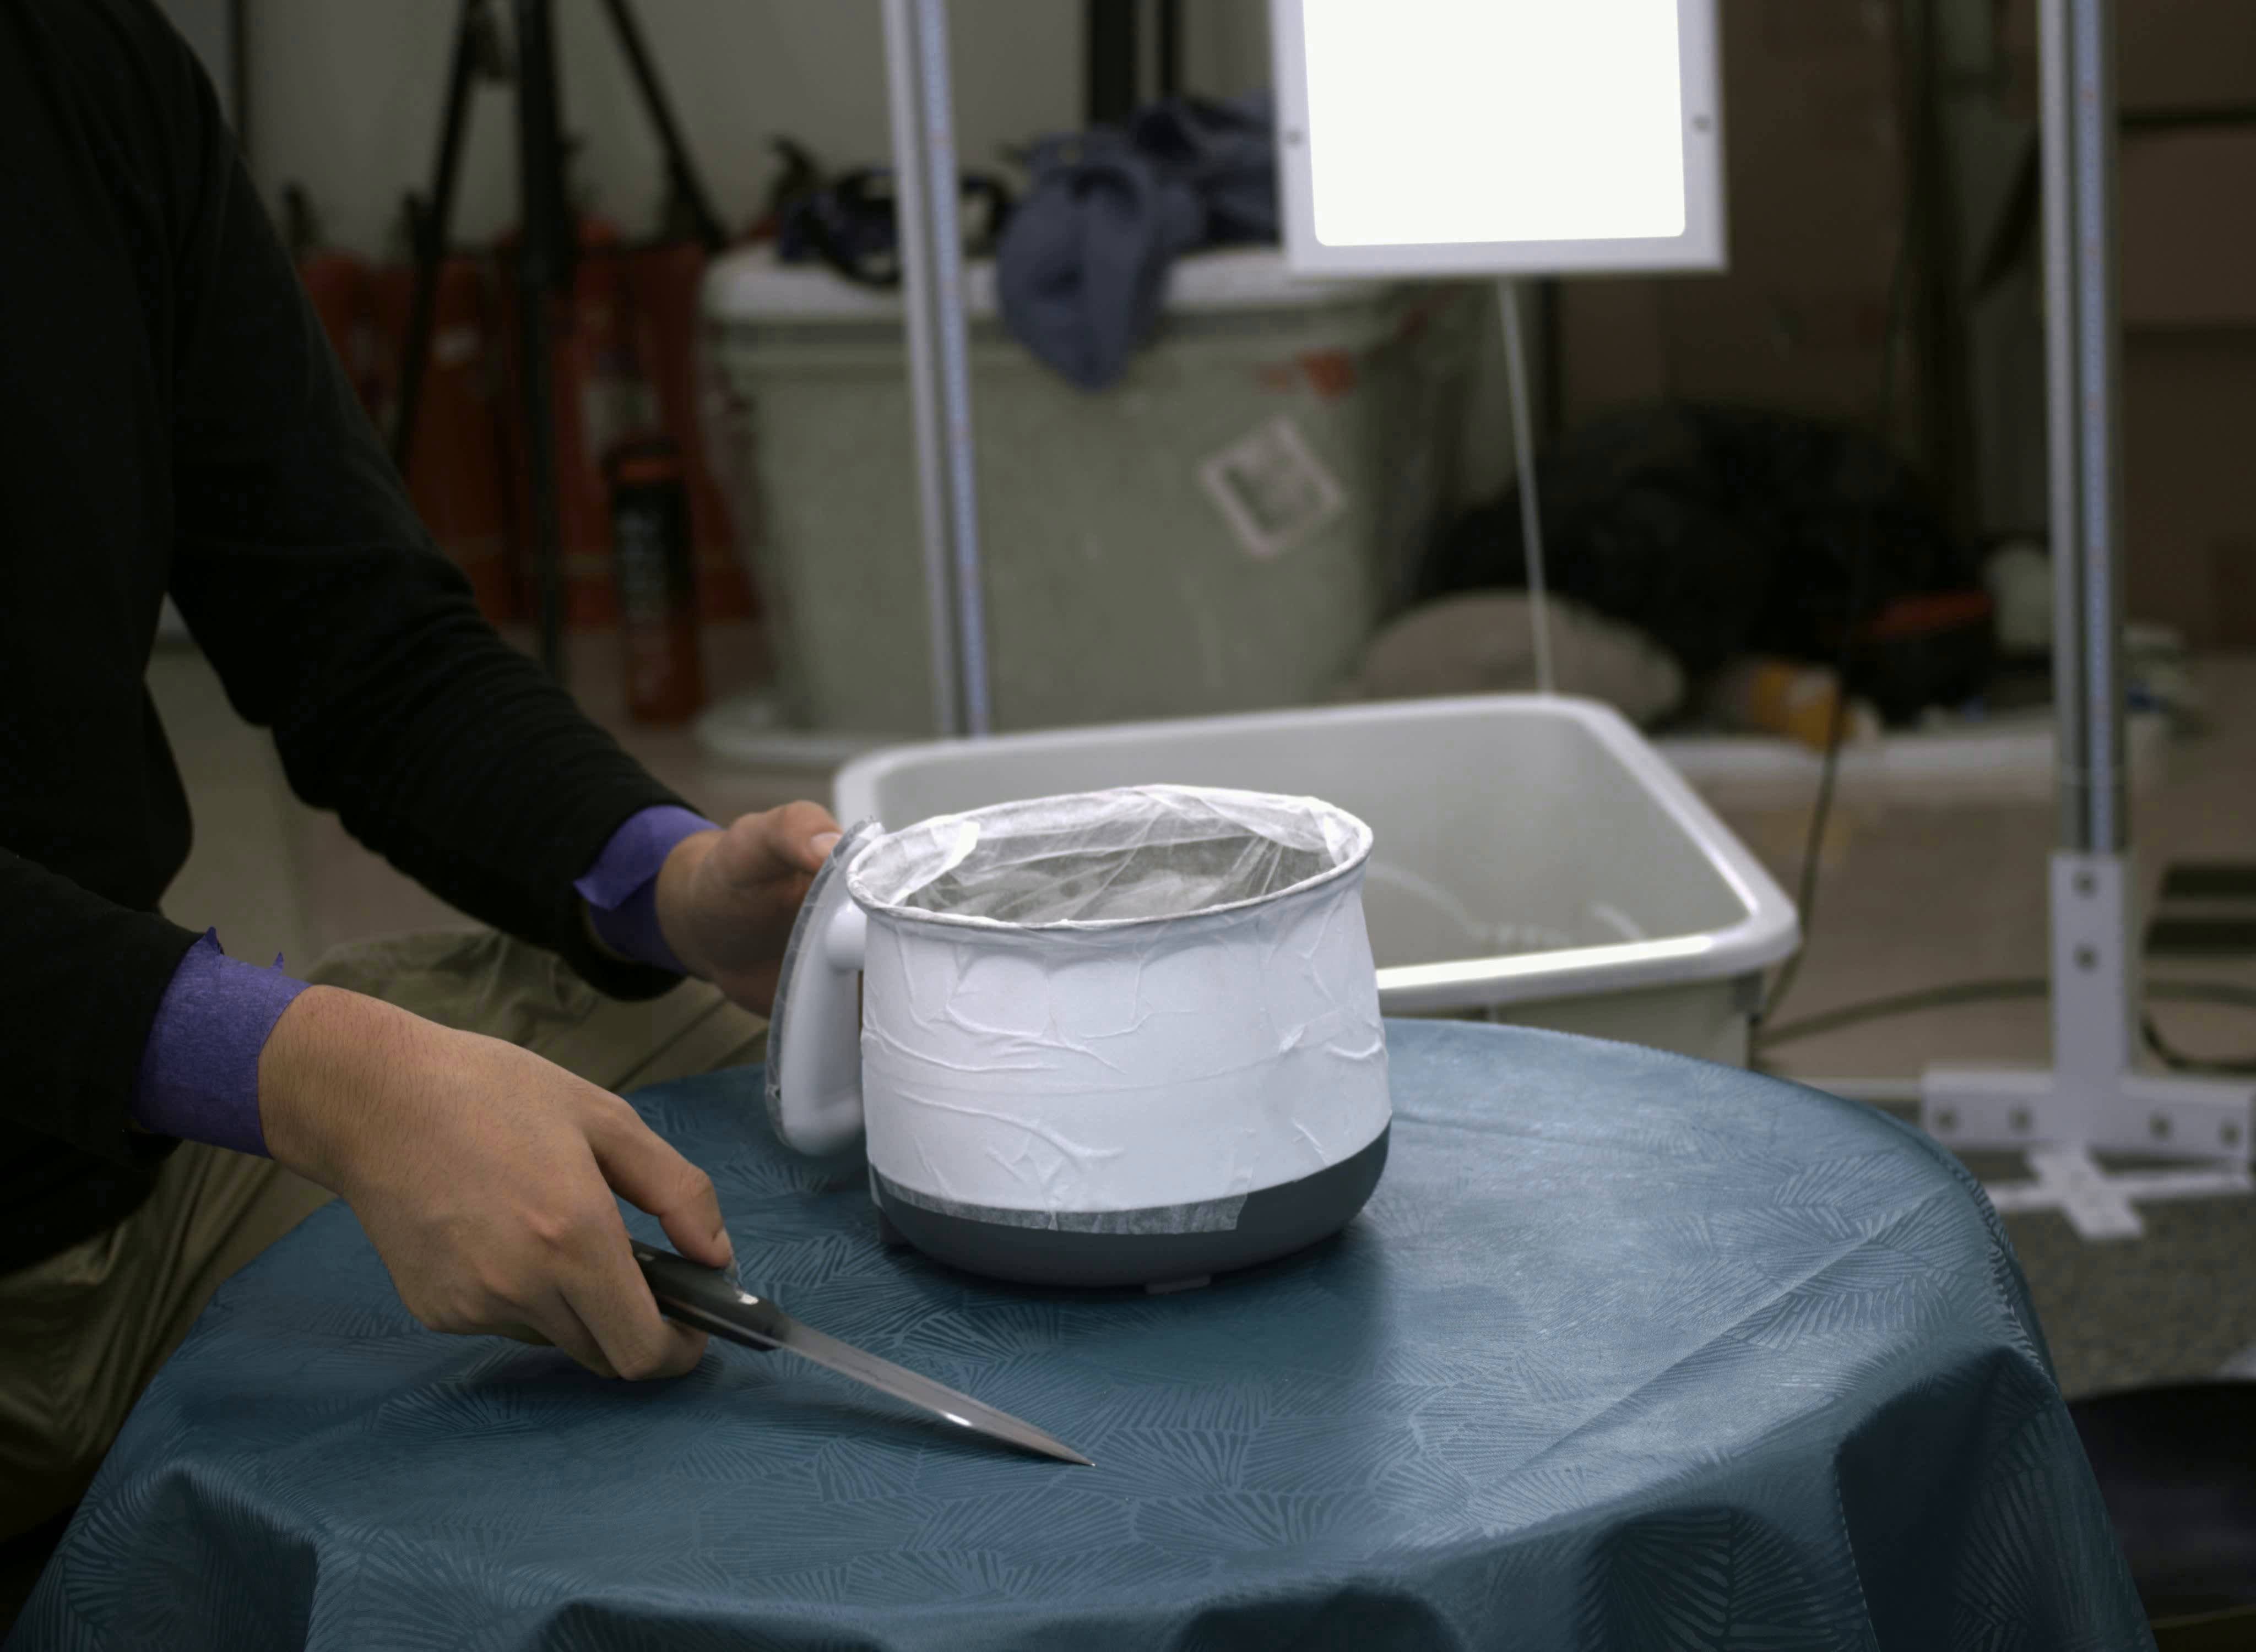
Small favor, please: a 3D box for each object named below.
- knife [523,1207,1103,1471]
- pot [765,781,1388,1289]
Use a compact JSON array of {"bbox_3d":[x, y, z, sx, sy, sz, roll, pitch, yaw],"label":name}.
[{"bbox_3d":[-0.102,0.160,1.713,0.242,0.016,0.024,19,5,36],"label":"knife"},{"bbox_3d":[-0.025,0.066,1.856,0.238,0.137,0.174,6,16,33],"label":"pot"}]
